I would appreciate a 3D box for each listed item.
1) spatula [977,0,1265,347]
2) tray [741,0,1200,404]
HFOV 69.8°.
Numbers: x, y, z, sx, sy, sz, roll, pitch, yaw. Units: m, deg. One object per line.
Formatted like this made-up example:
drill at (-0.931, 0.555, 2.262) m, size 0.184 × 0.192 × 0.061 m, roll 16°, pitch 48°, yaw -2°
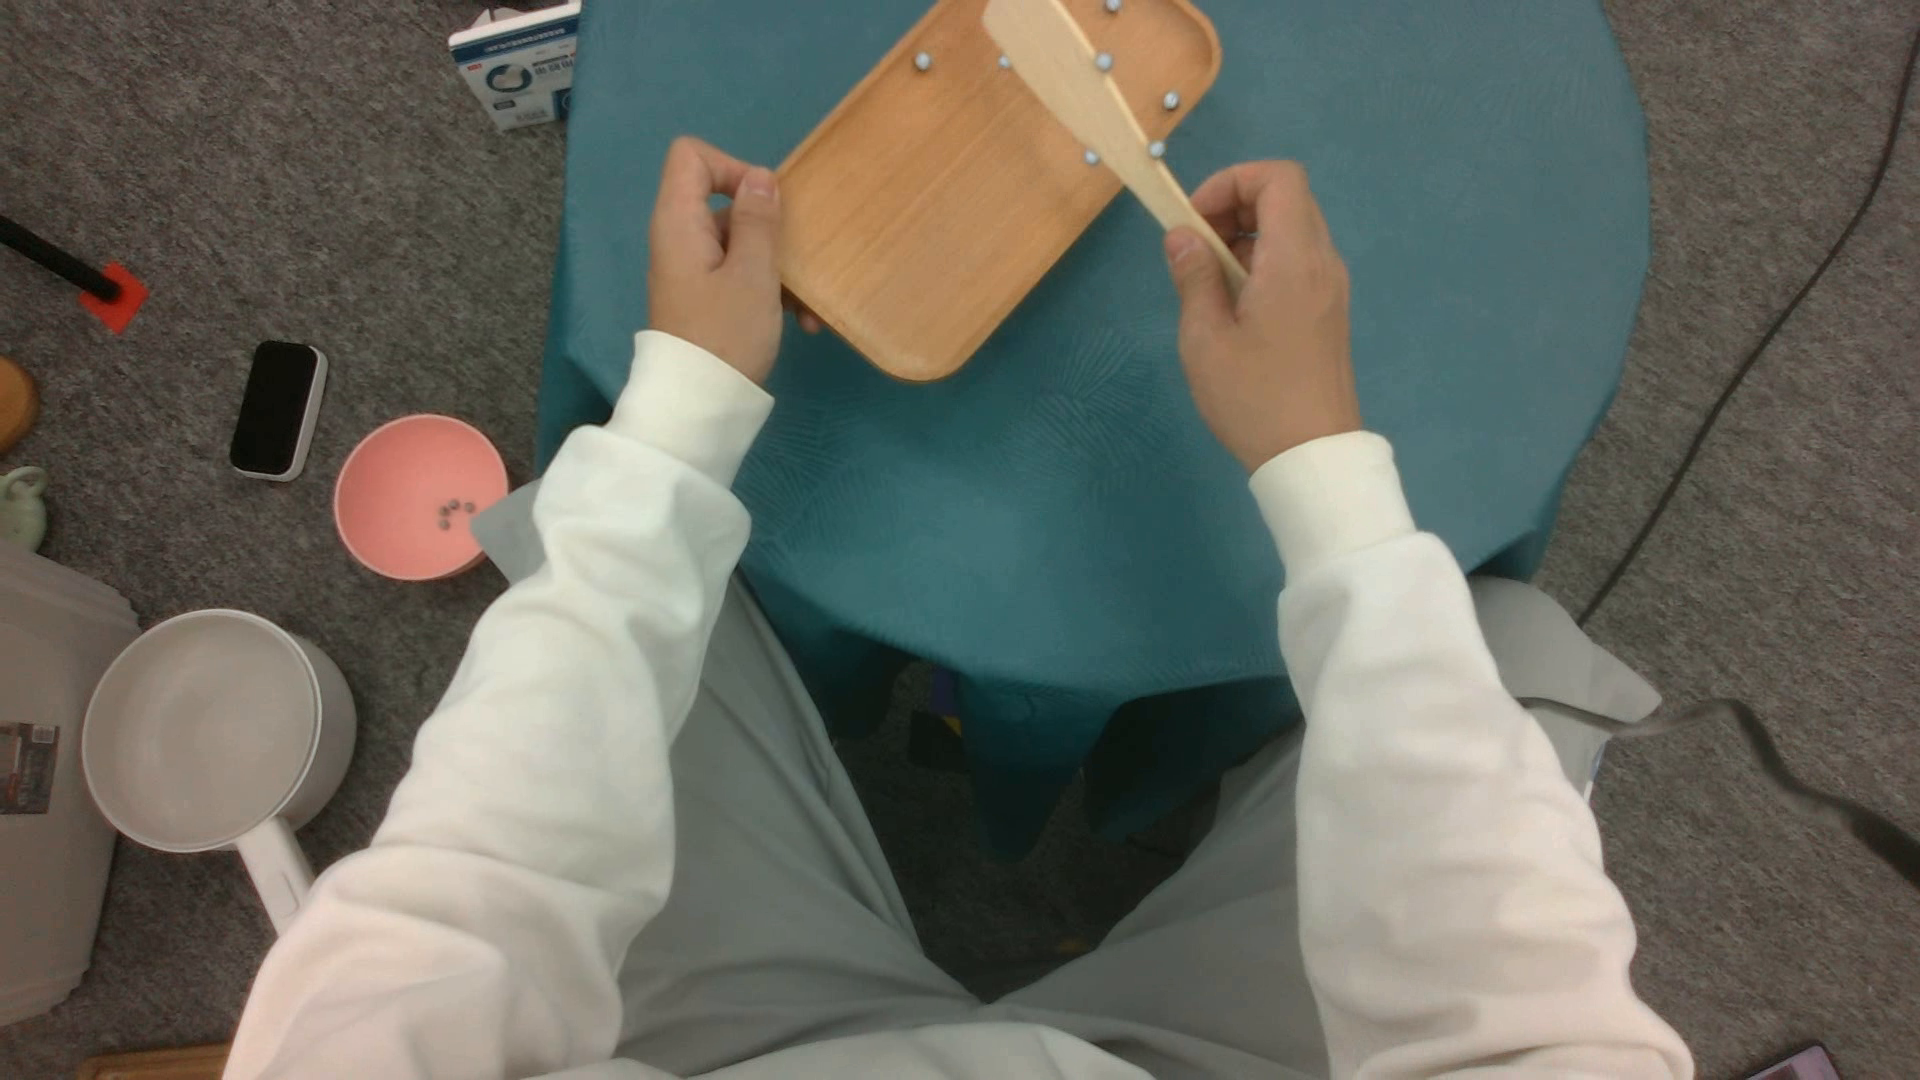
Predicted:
spatula at (0.076, -0.174, 0.647) m, size 0.005 × 0.050 × 0.208 m, roll -35°, pitch 85°, yaw -22°
tray at (0.009, -0.187, 0.688) m, size 0.130 × 0.023 × 0.251 m, roll 37°, pitch 76°, yaw 6°
